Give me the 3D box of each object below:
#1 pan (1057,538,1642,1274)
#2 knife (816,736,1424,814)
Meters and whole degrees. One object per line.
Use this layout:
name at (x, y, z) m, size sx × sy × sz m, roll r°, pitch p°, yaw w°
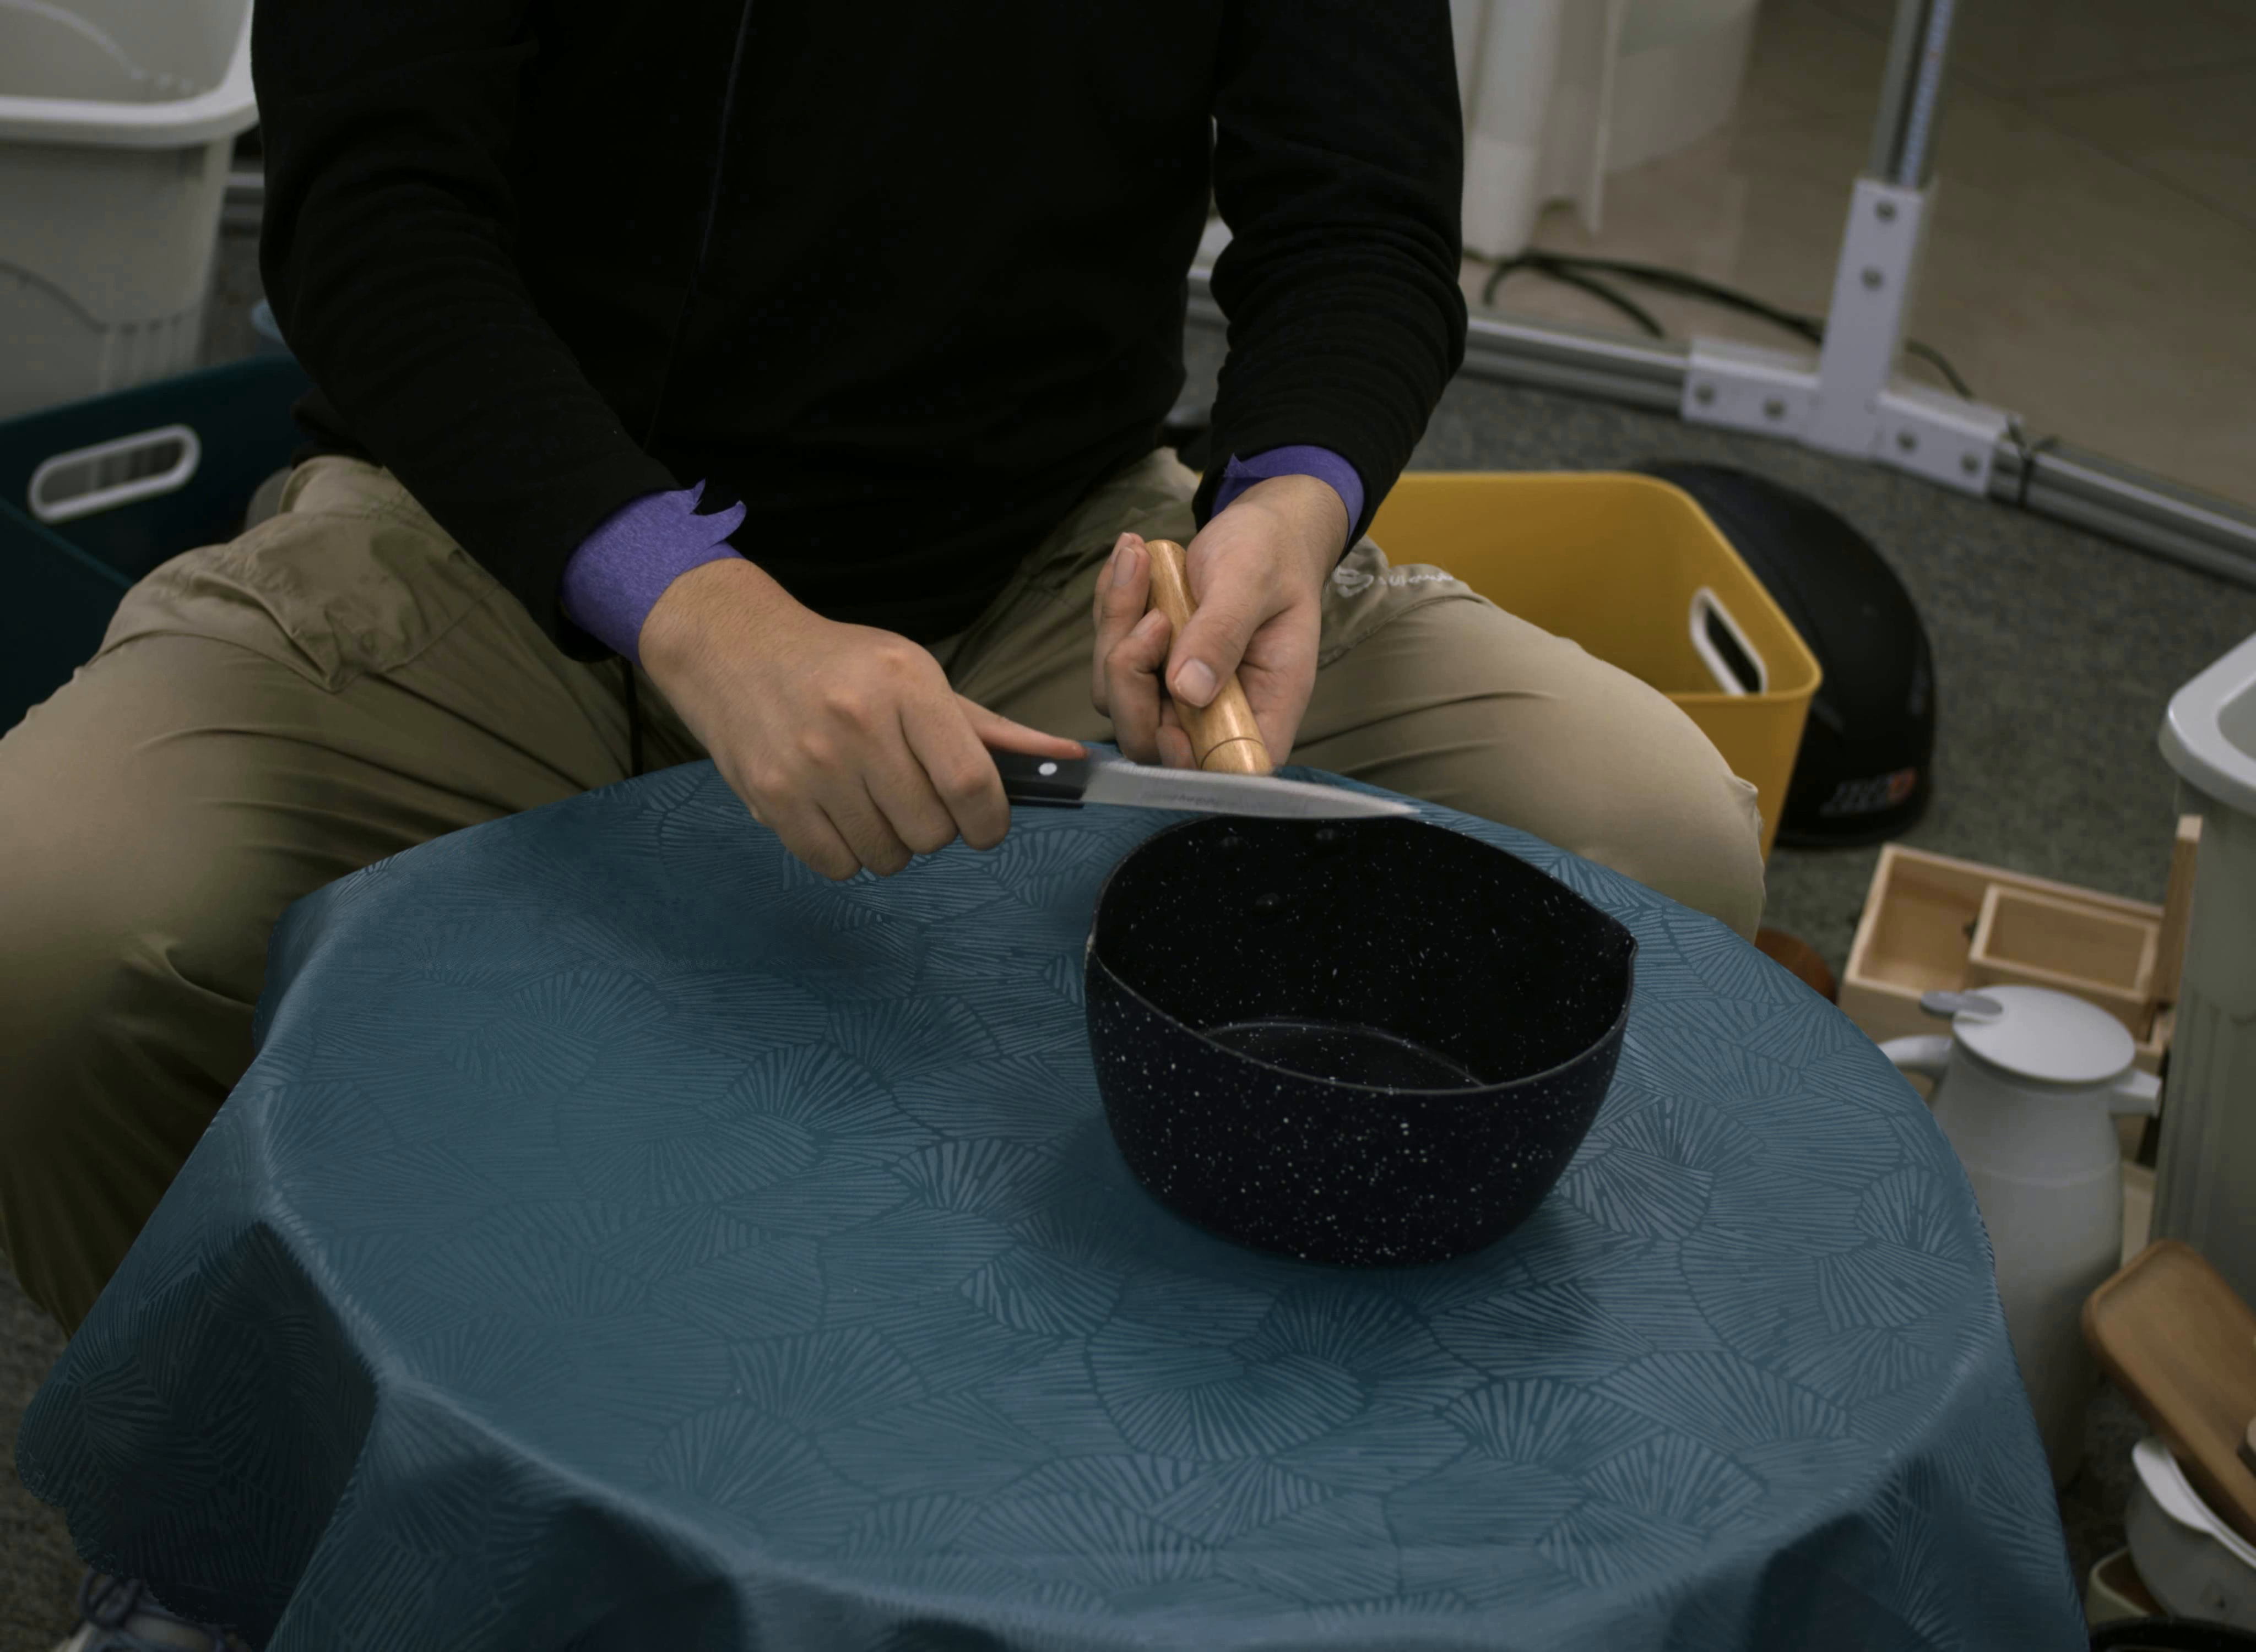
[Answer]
pan at (0.051, 0.025, 1.877) m, size 0.206 × 0.108 × 0.346 m, roll -3°, pitch 32°, yaw -19°
knife at (-0.007, -0.015, 1.863) m, size 0.239 × 0.016 × 0.024 m, roll 4°, pitch 40°, yaw 27°
